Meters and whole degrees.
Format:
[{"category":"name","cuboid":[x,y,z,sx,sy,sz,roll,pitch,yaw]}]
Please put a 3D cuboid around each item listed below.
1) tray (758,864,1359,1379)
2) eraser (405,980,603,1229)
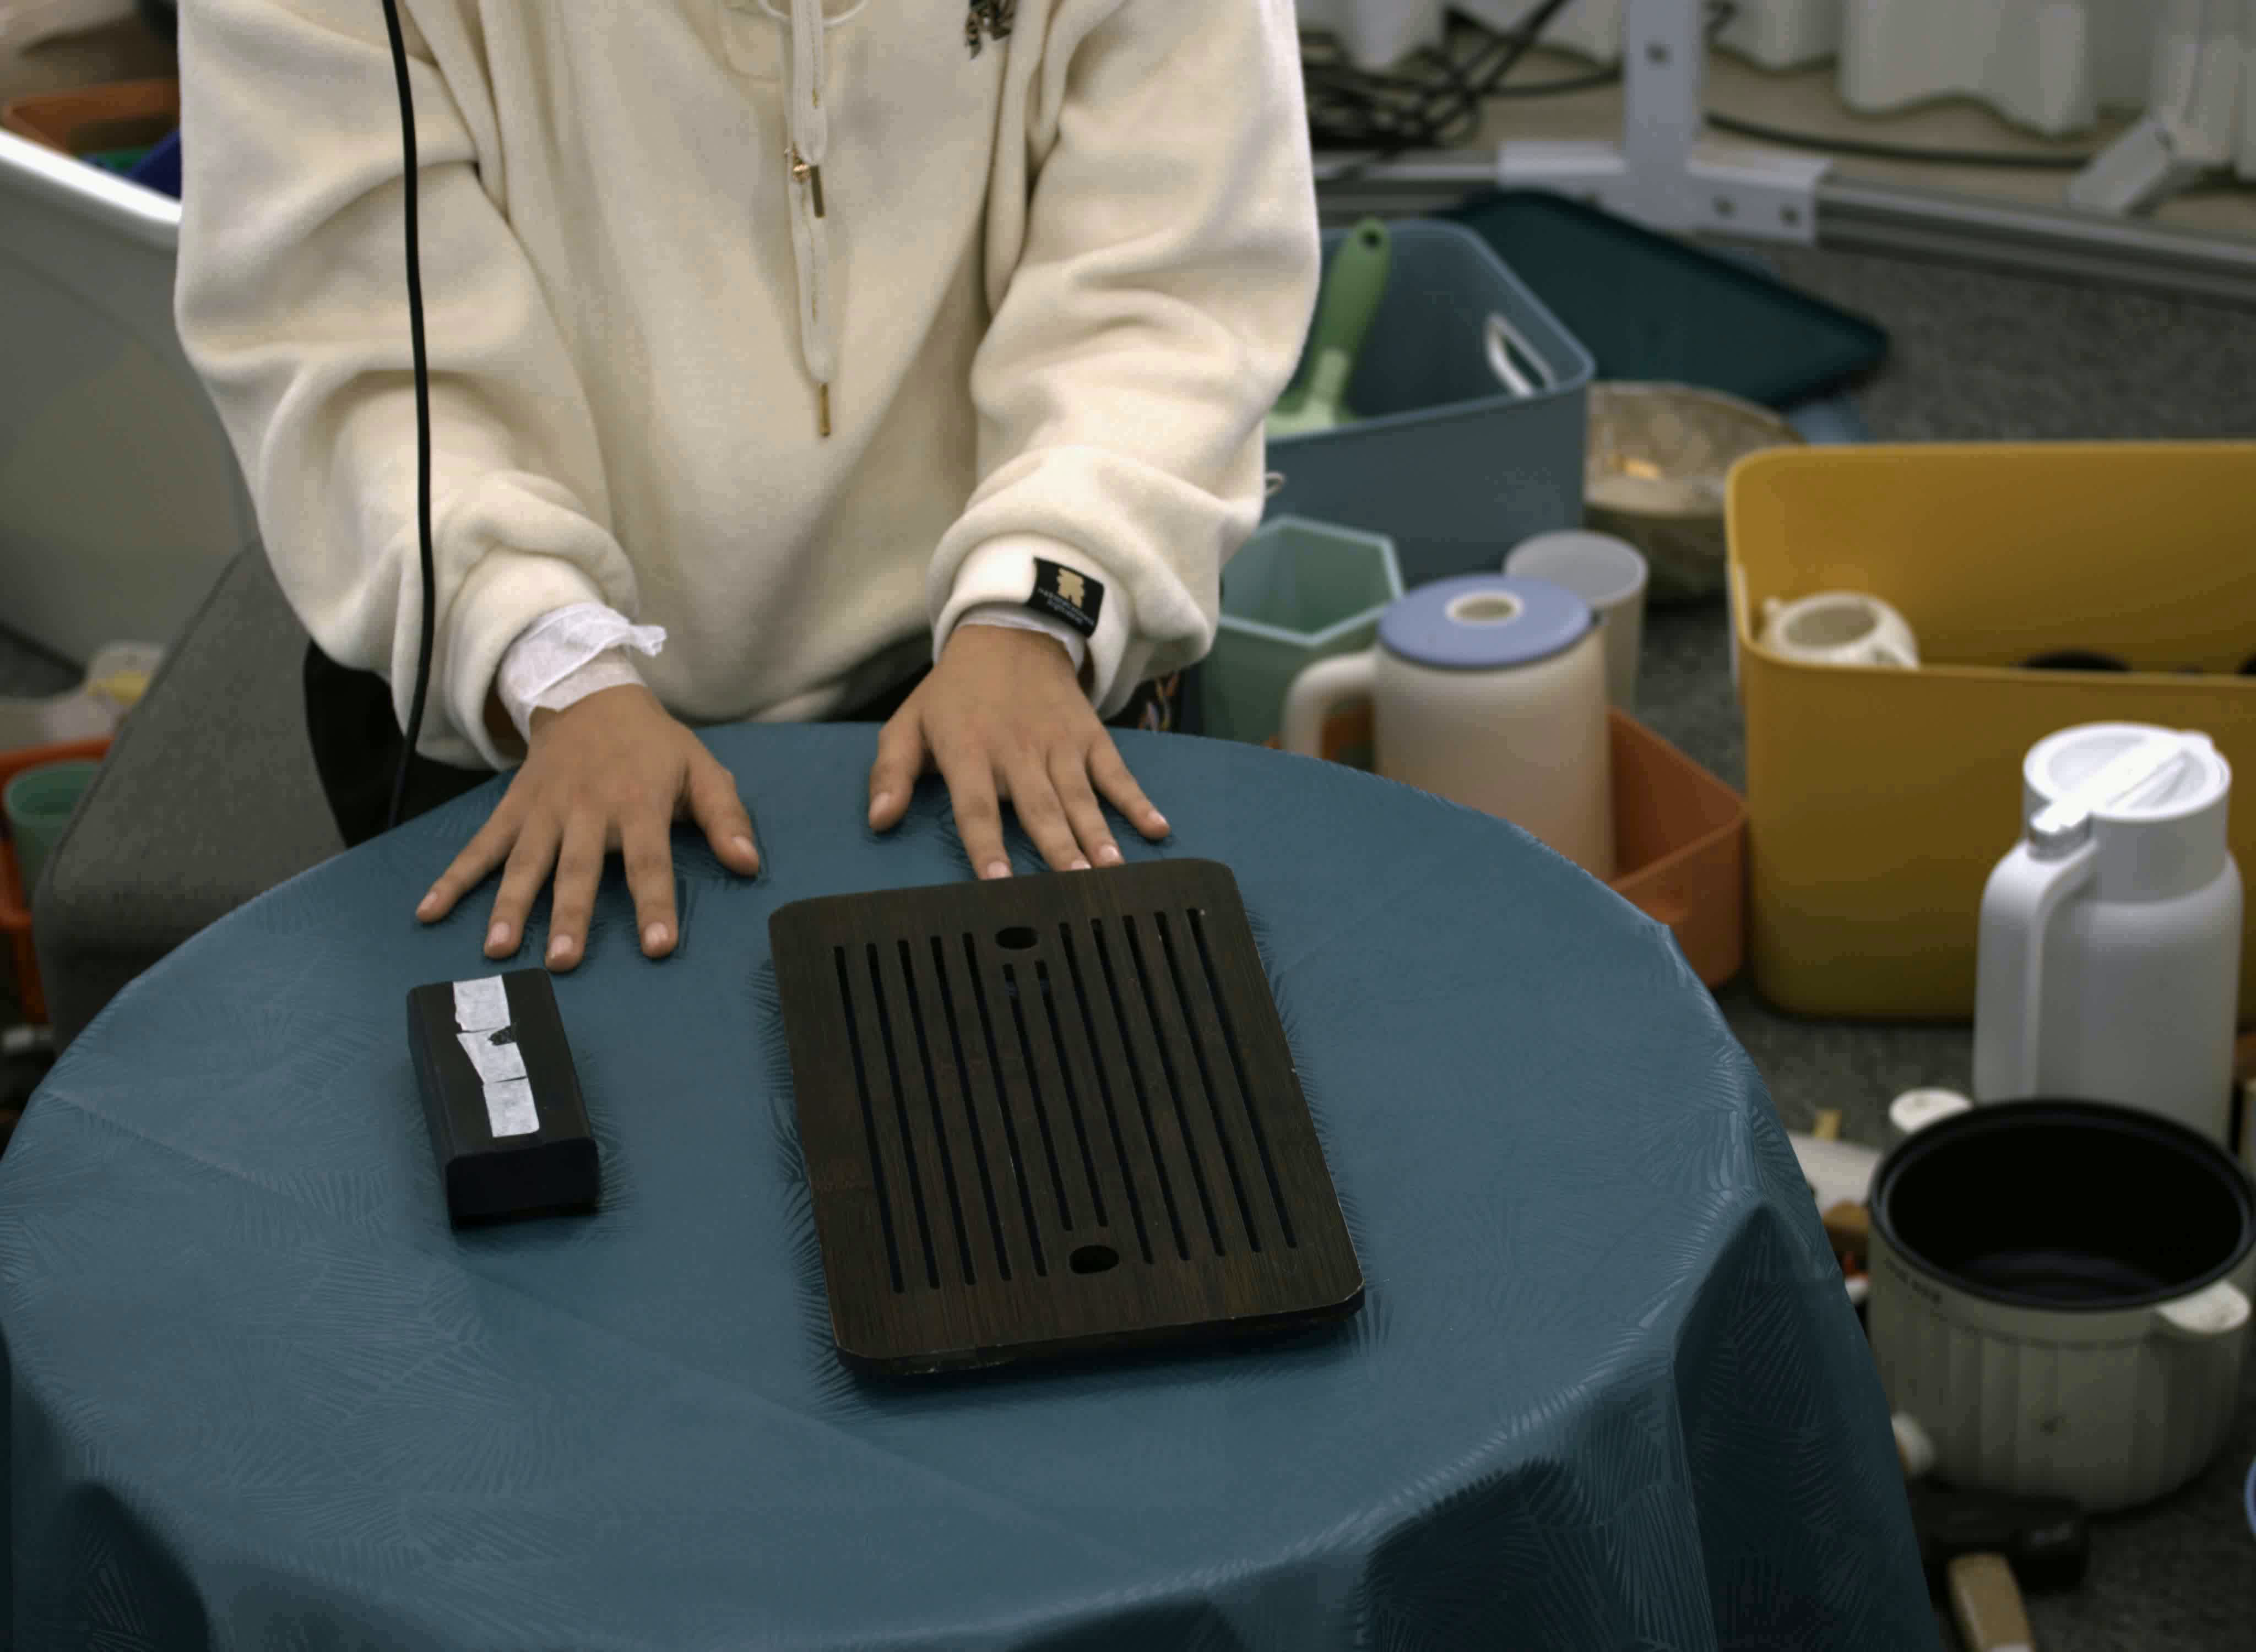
[{"category":"tray","cuboid":[-0.029,0.097,1.893,0.170,0.018,0.310,-6,28,-6]},{"category":"eraser","cuboid":[-0.212,0.094,1.907,0.053,0.030,0.127,-6,26,-11]}]
